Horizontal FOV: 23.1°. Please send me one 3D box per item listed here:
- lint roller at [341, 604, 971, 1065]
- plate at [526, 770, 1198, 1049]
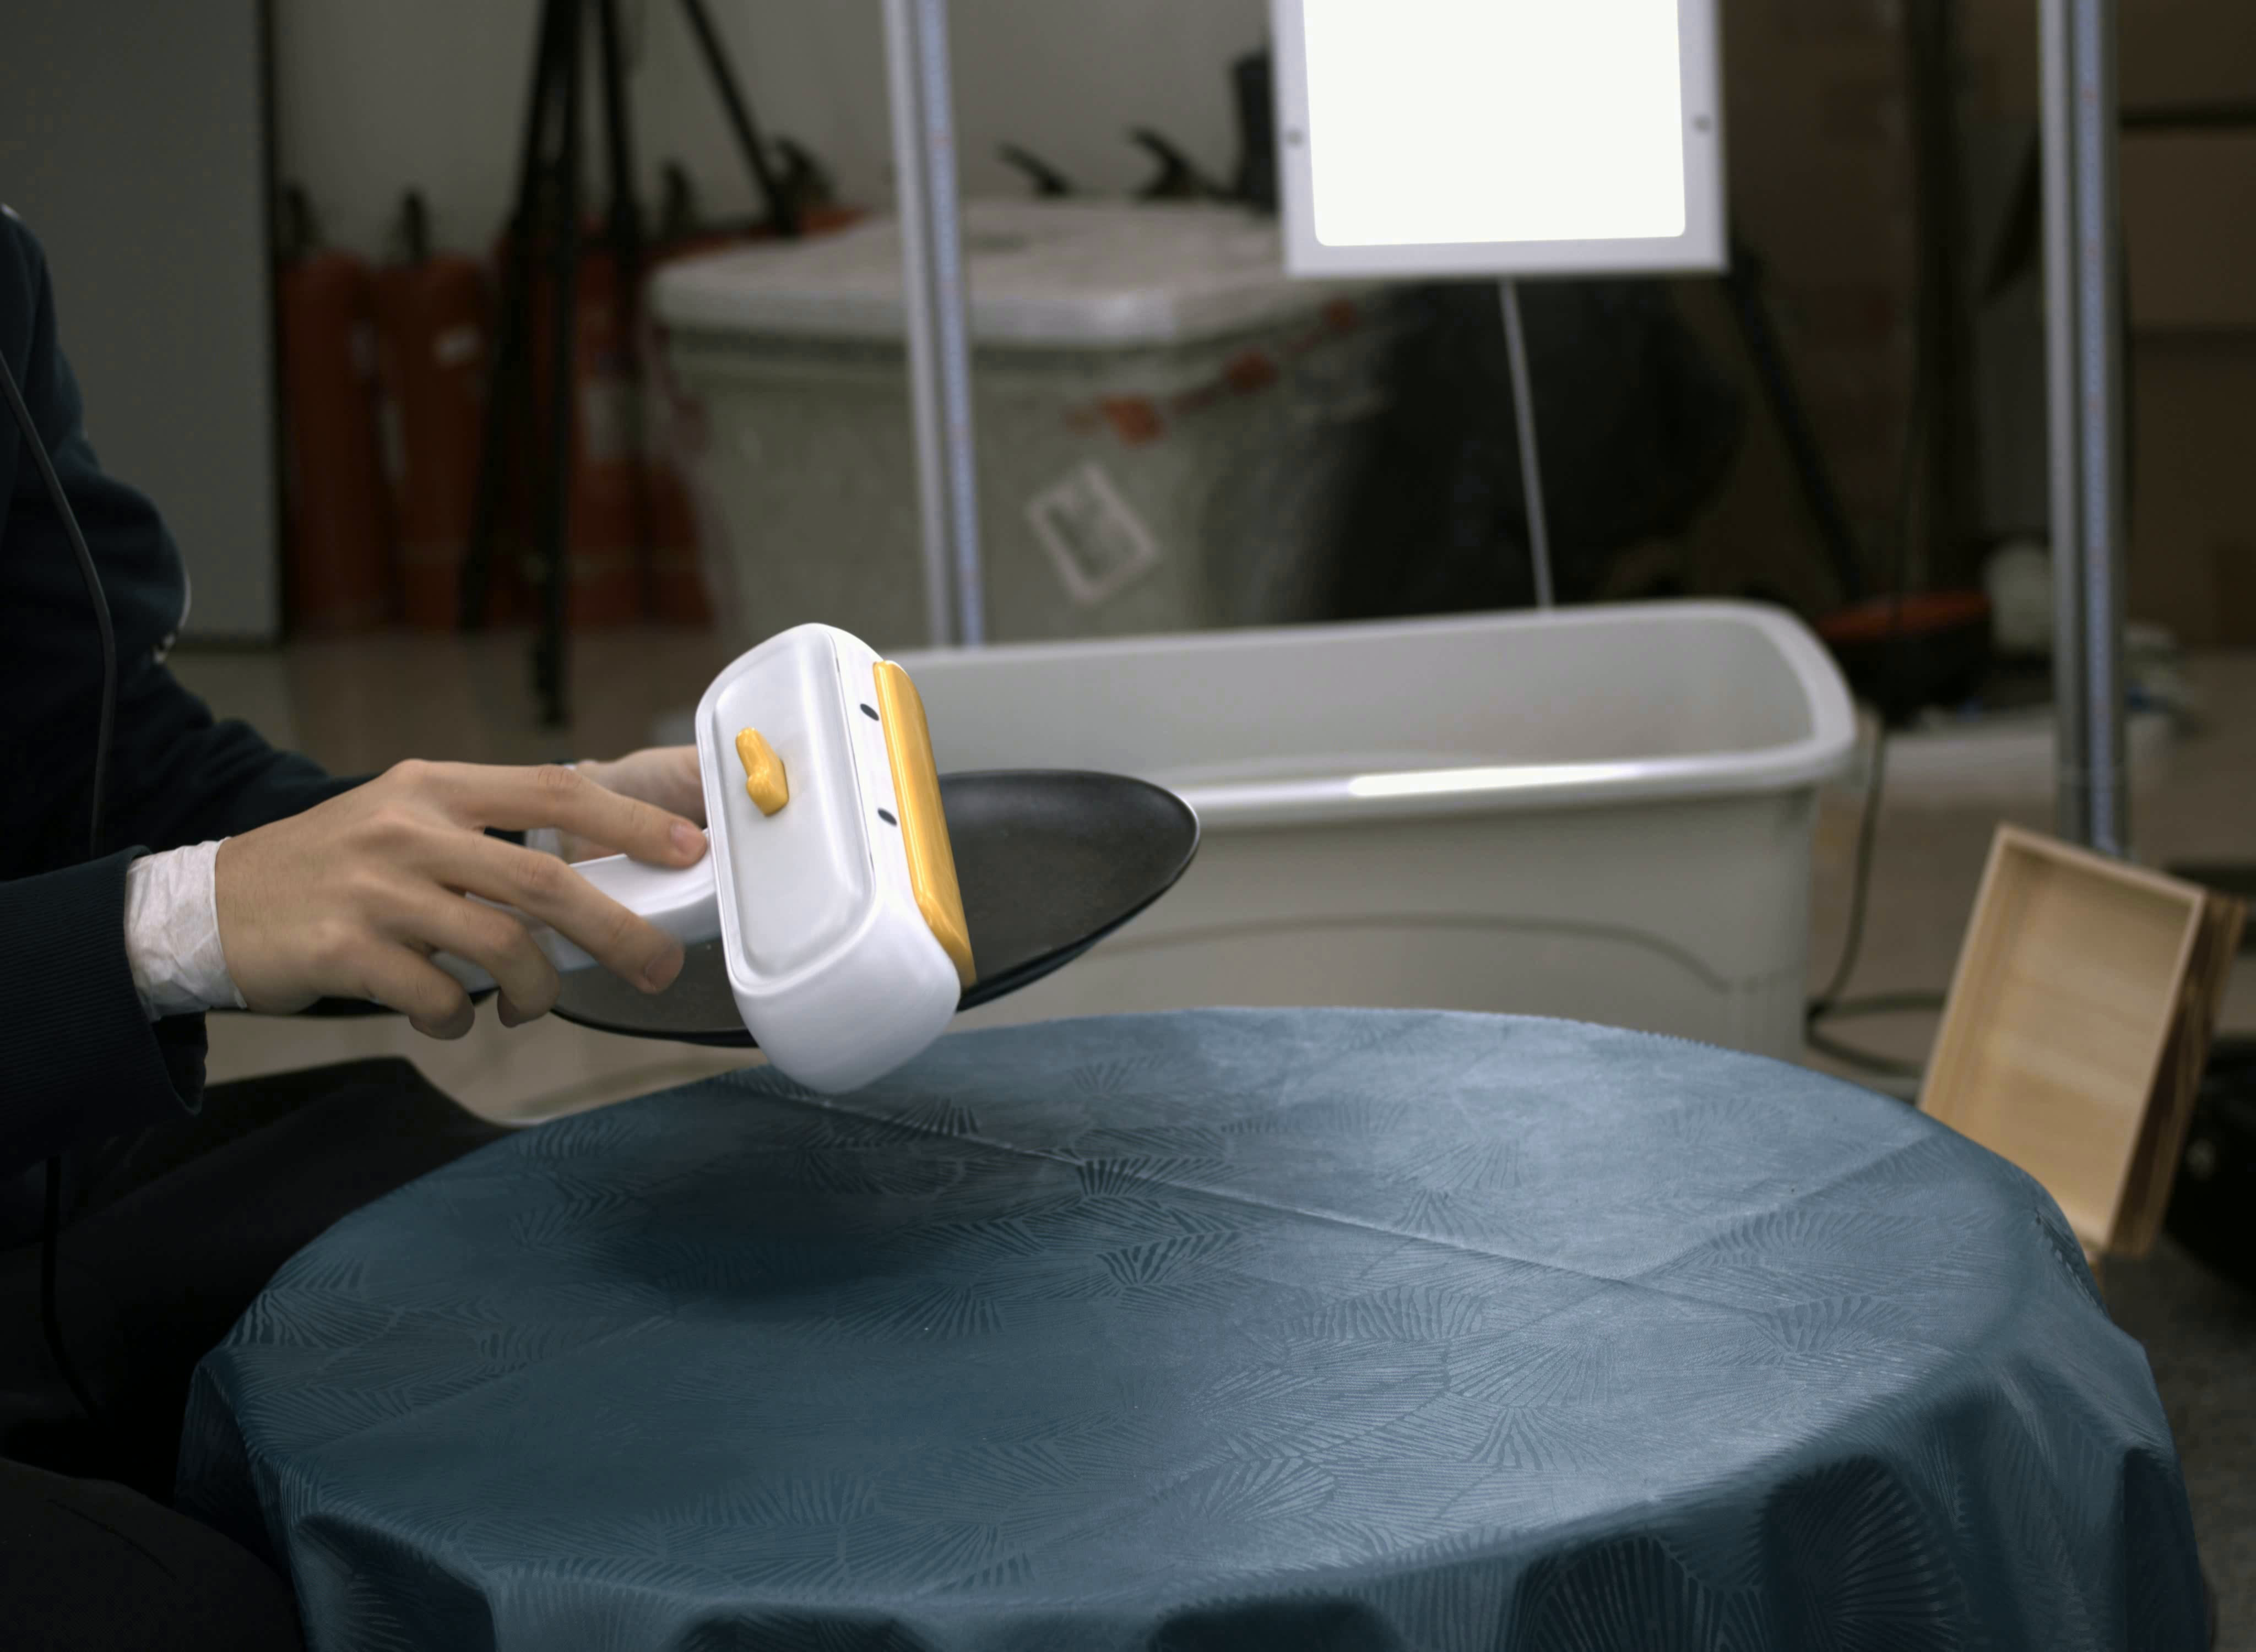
[{"bbox_3d":[-0.151,0.022,1.723,0.193,0.073,0.193,-27,39,6],"label":"lint roller"},{"bbox_3d":[-0.092,0.033,1.934,0.244,0.023,0.244,-12,18,2],"label":"plate"}]
